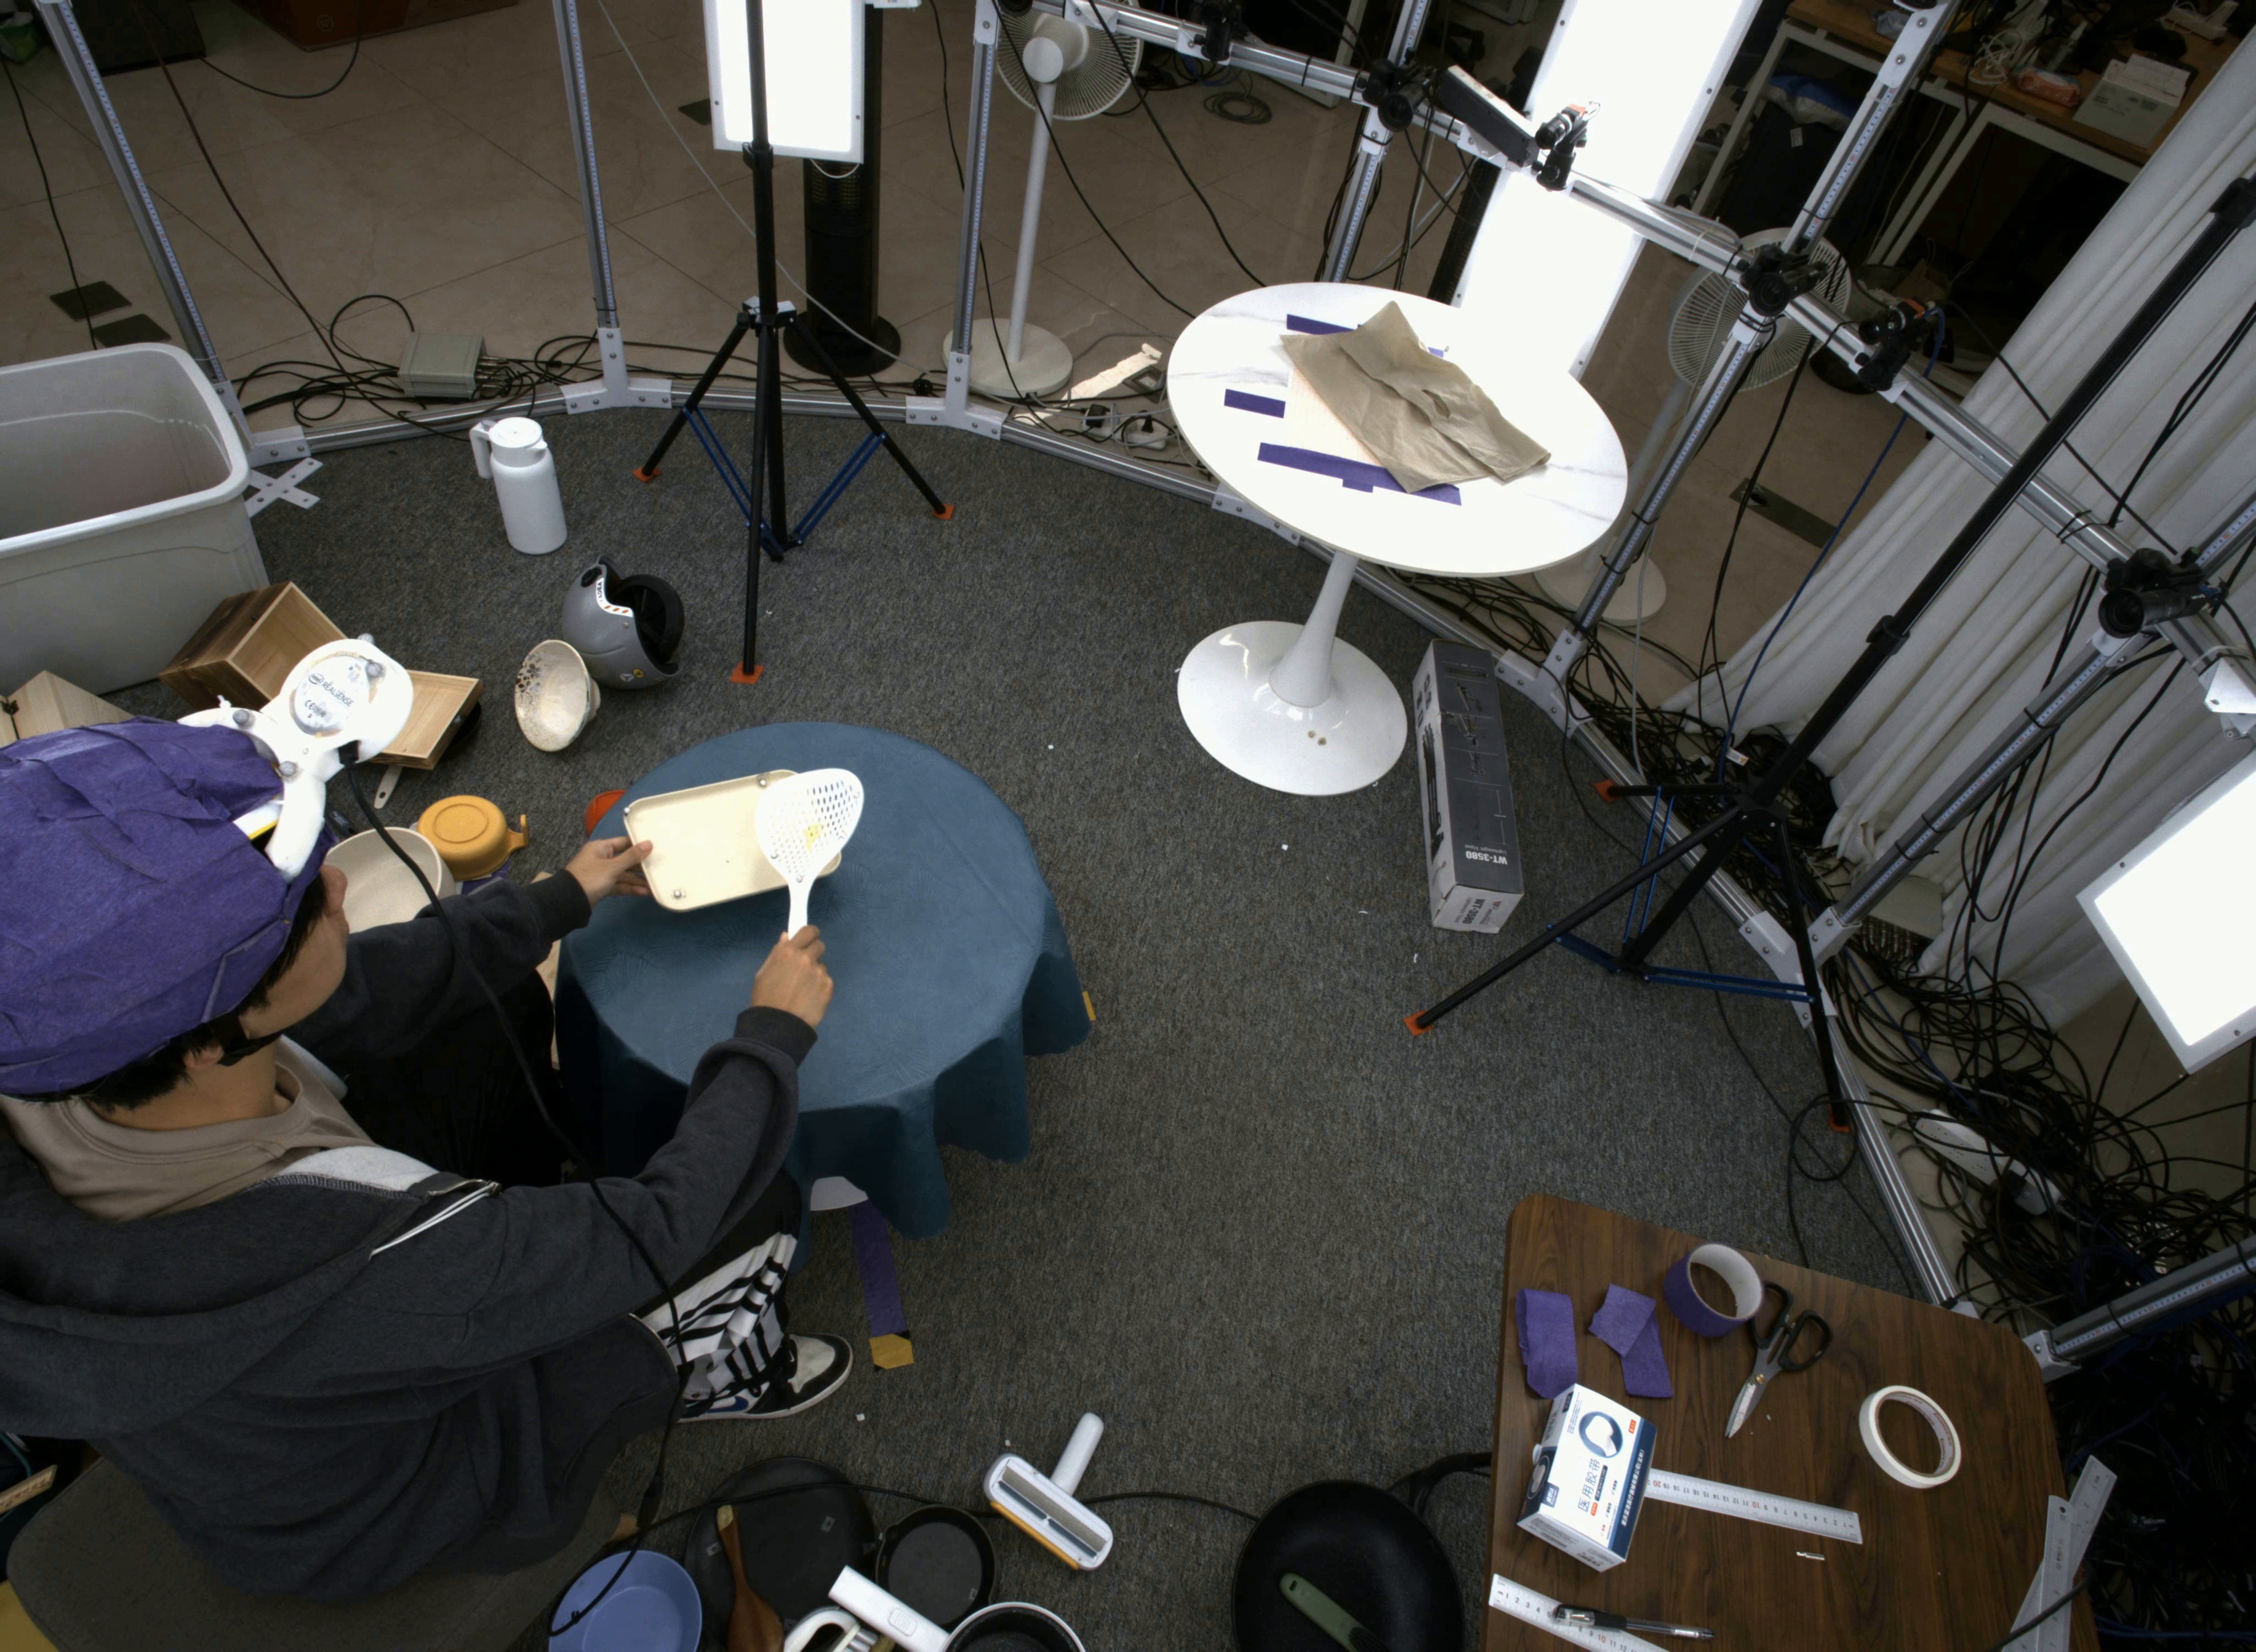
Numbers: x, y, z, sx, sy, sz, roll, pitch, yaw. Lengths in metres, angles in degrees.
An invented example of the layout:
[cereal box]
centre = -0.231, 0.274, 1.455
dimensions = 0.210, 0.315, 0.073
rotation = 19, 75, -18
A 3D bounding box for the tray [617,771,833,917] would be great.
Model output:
[tray]
centre = -0.500, 0.019, 1.602
dimensions = 0.242, 0.017, 0.168
rotation = -15, 65, -34

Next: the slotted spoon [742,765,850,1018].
[slotted spoon]
centre = -0.382, 0.066, 1.493
dimensions = 0.135, 0.052, 0.339
rotation = -12, 47, 3
